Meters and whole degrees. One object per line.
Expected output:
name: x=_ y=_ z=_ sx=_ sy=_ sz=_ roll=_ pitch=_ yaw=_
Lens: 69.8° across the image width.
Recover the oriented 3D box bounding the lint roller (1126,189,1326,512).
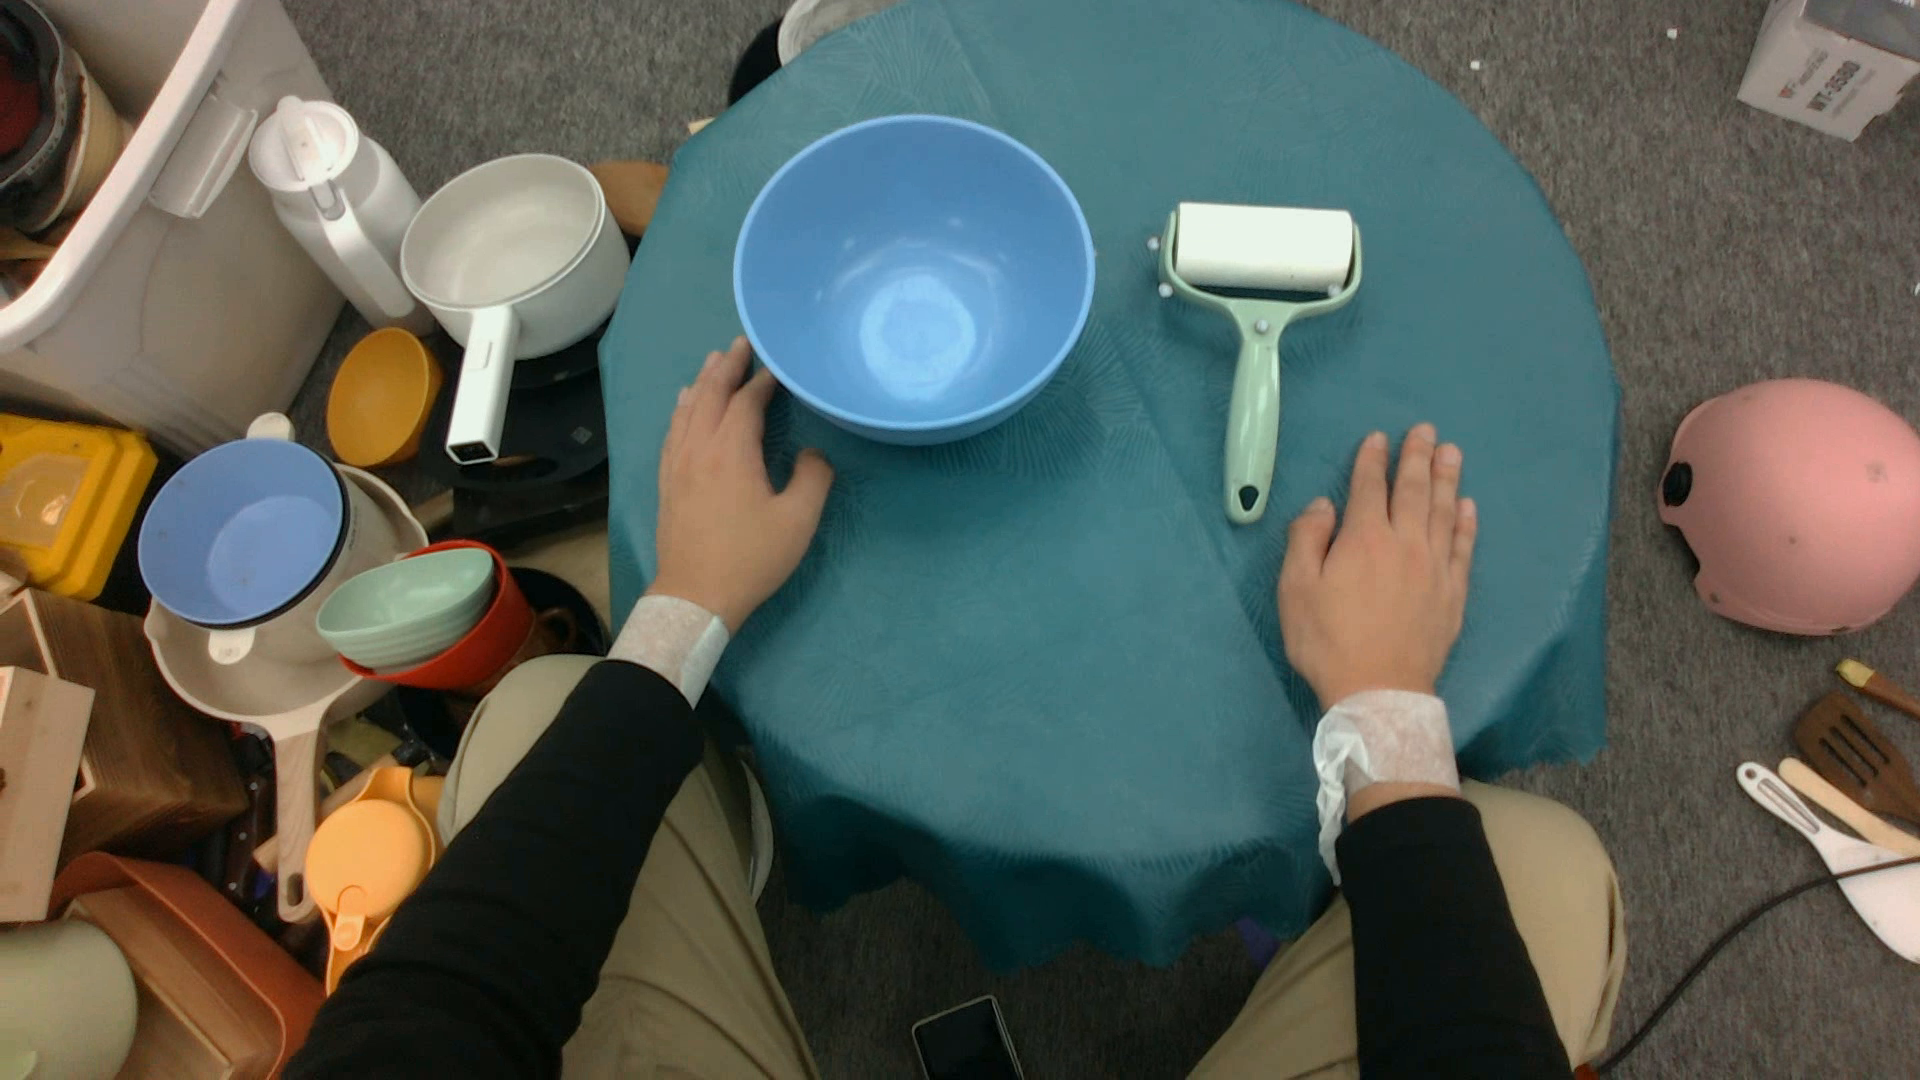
lint roller: x=0.153 y=-0.115 z=0.802 sx=0.116 sy=0.048 sz=0.198 roll=5 pitch=71 yaw=0

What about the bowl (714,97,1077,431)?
bowl: x=-0.035 y=-0.142 z=0.785 sx=0.196 sy=0.095 sz=0.197 roll=0 pitch=70 yaw=-1
